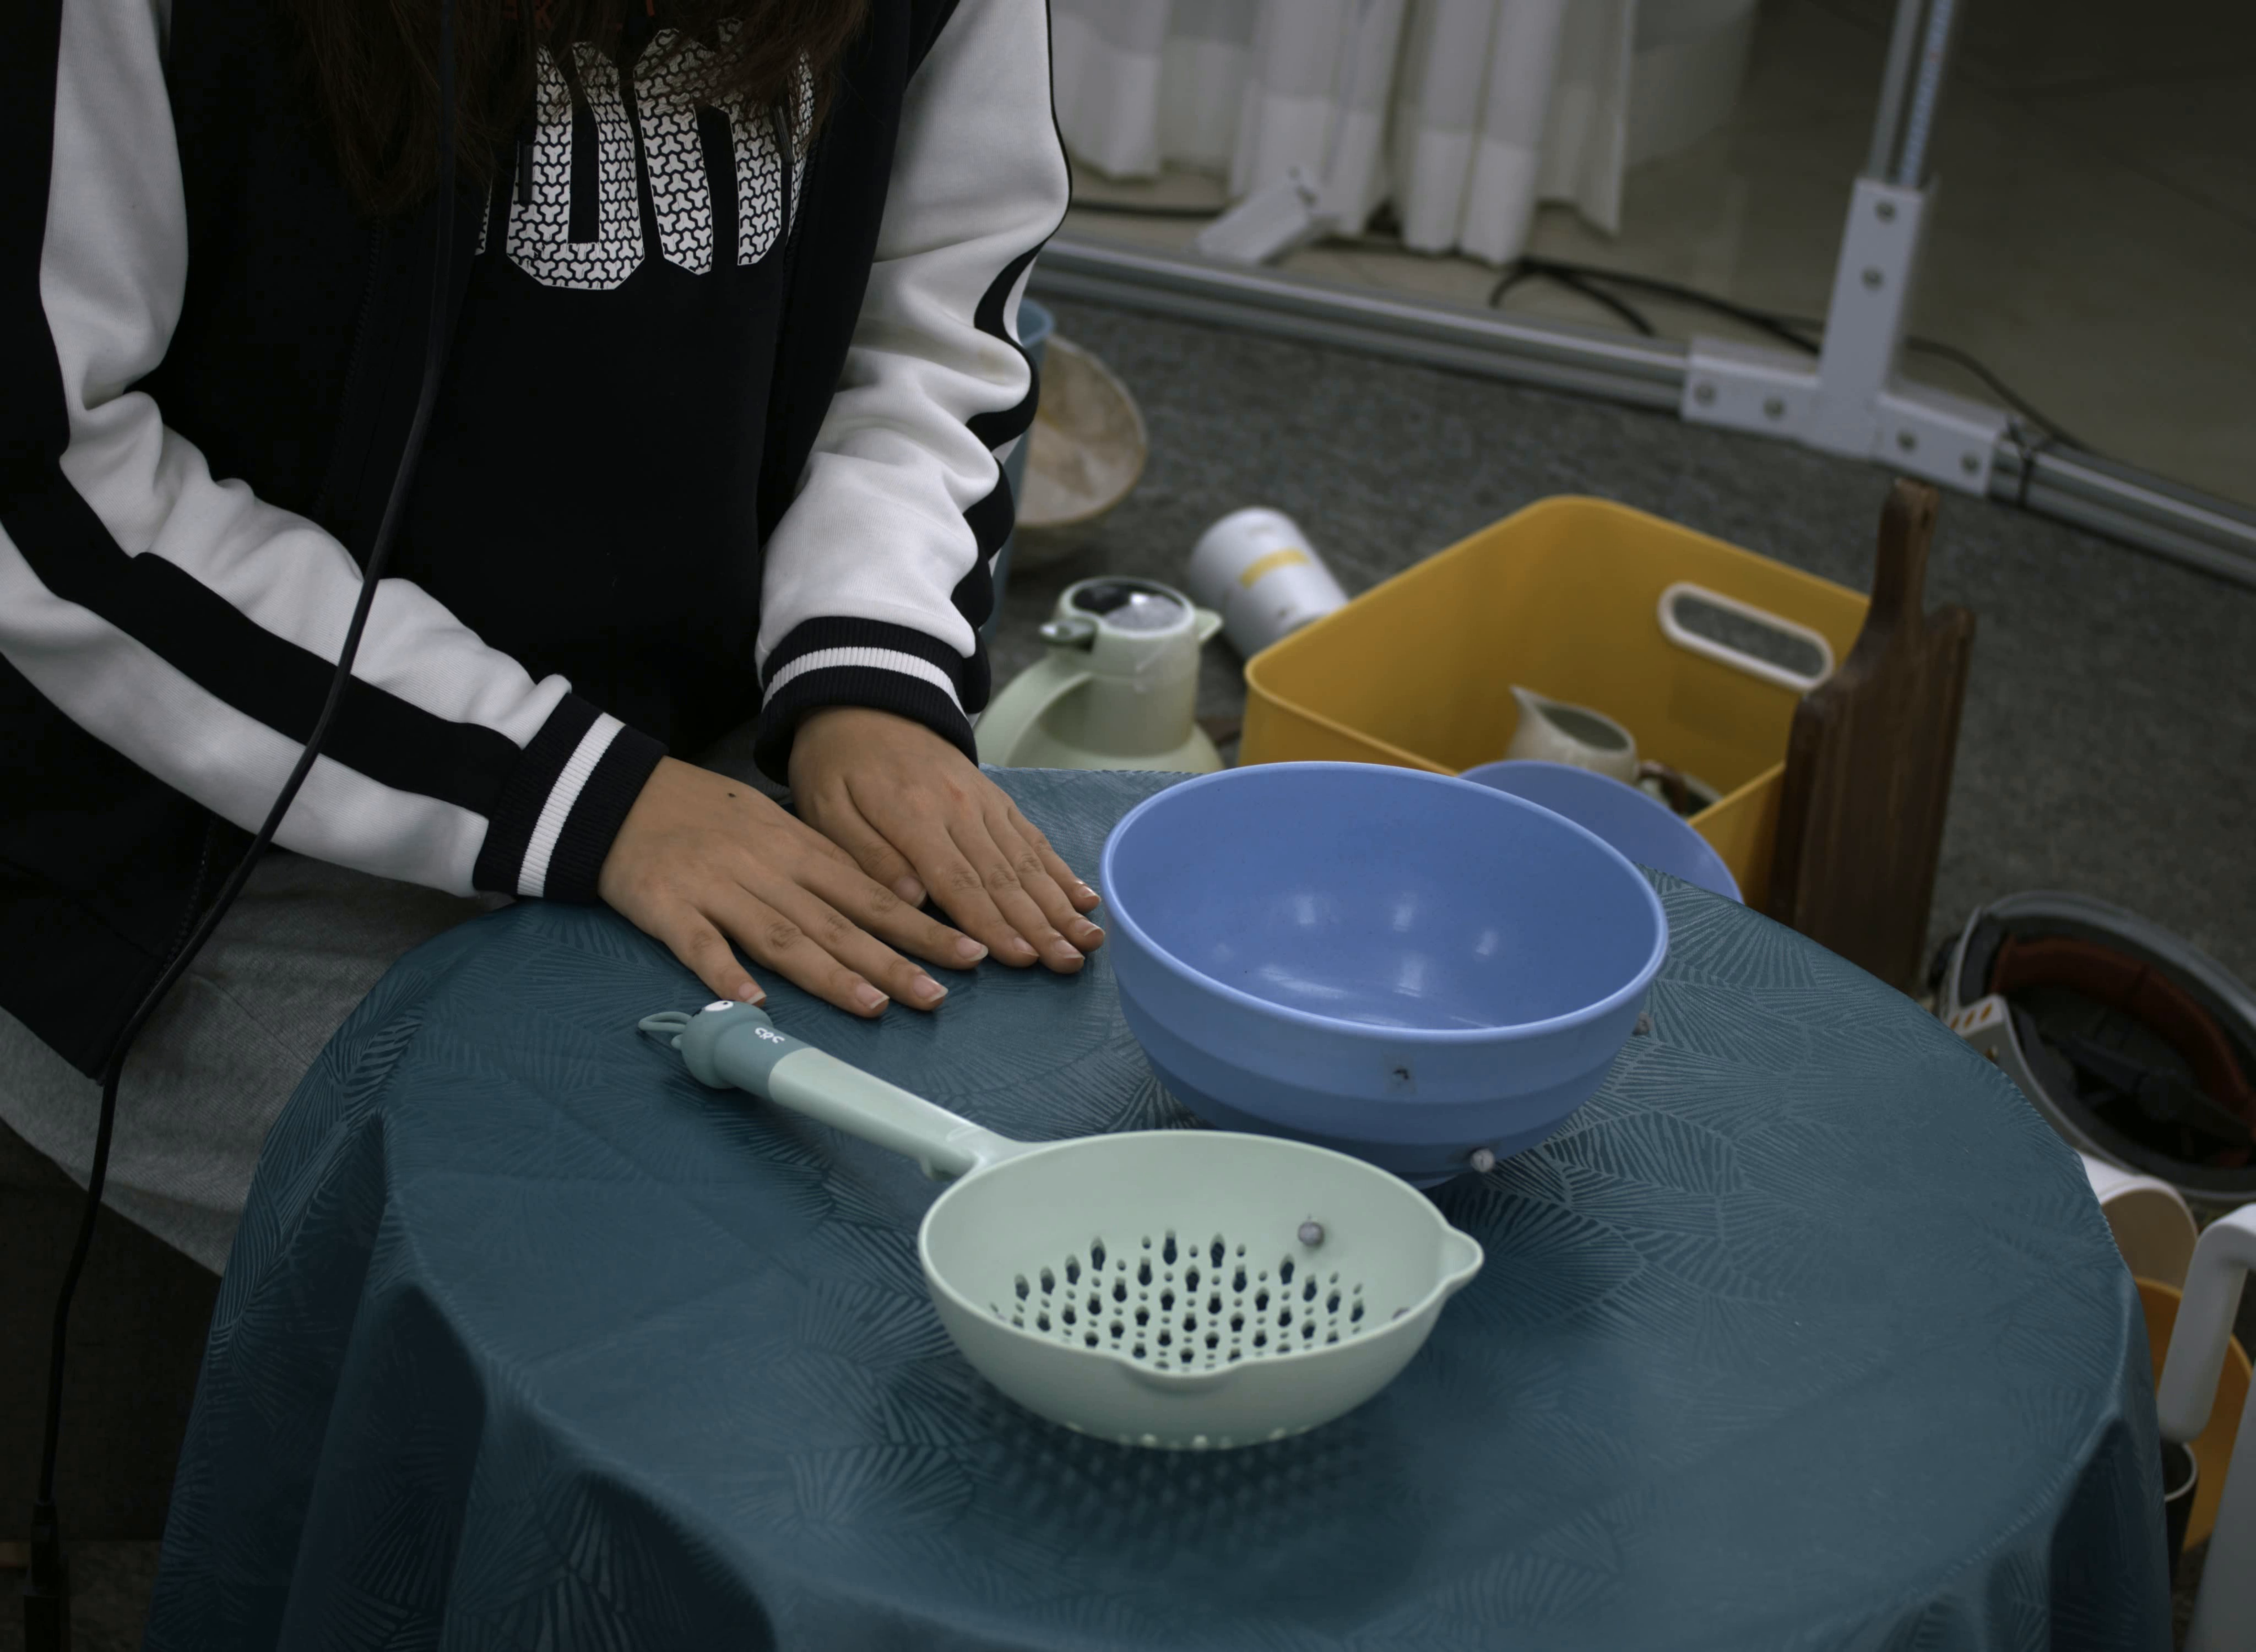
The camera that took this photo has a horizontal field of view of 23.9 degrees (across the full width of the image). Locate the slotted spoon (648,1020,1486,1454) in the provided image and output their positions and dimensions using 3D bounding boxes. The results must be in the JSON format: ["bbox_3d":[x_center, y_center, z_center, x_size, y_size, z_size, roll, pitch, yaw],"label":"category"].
[{"bbox_3d":[-0.046,0.118,1.740,0.168,0.075,0.362,-16,33,-38],"label":"slotted spoon"}]

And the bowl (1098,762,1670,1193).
[{"bbox_3d":[0.083,0.064,1.834,0.196,0.095,0.198,5,27,-3],"label":"bowl"}]
